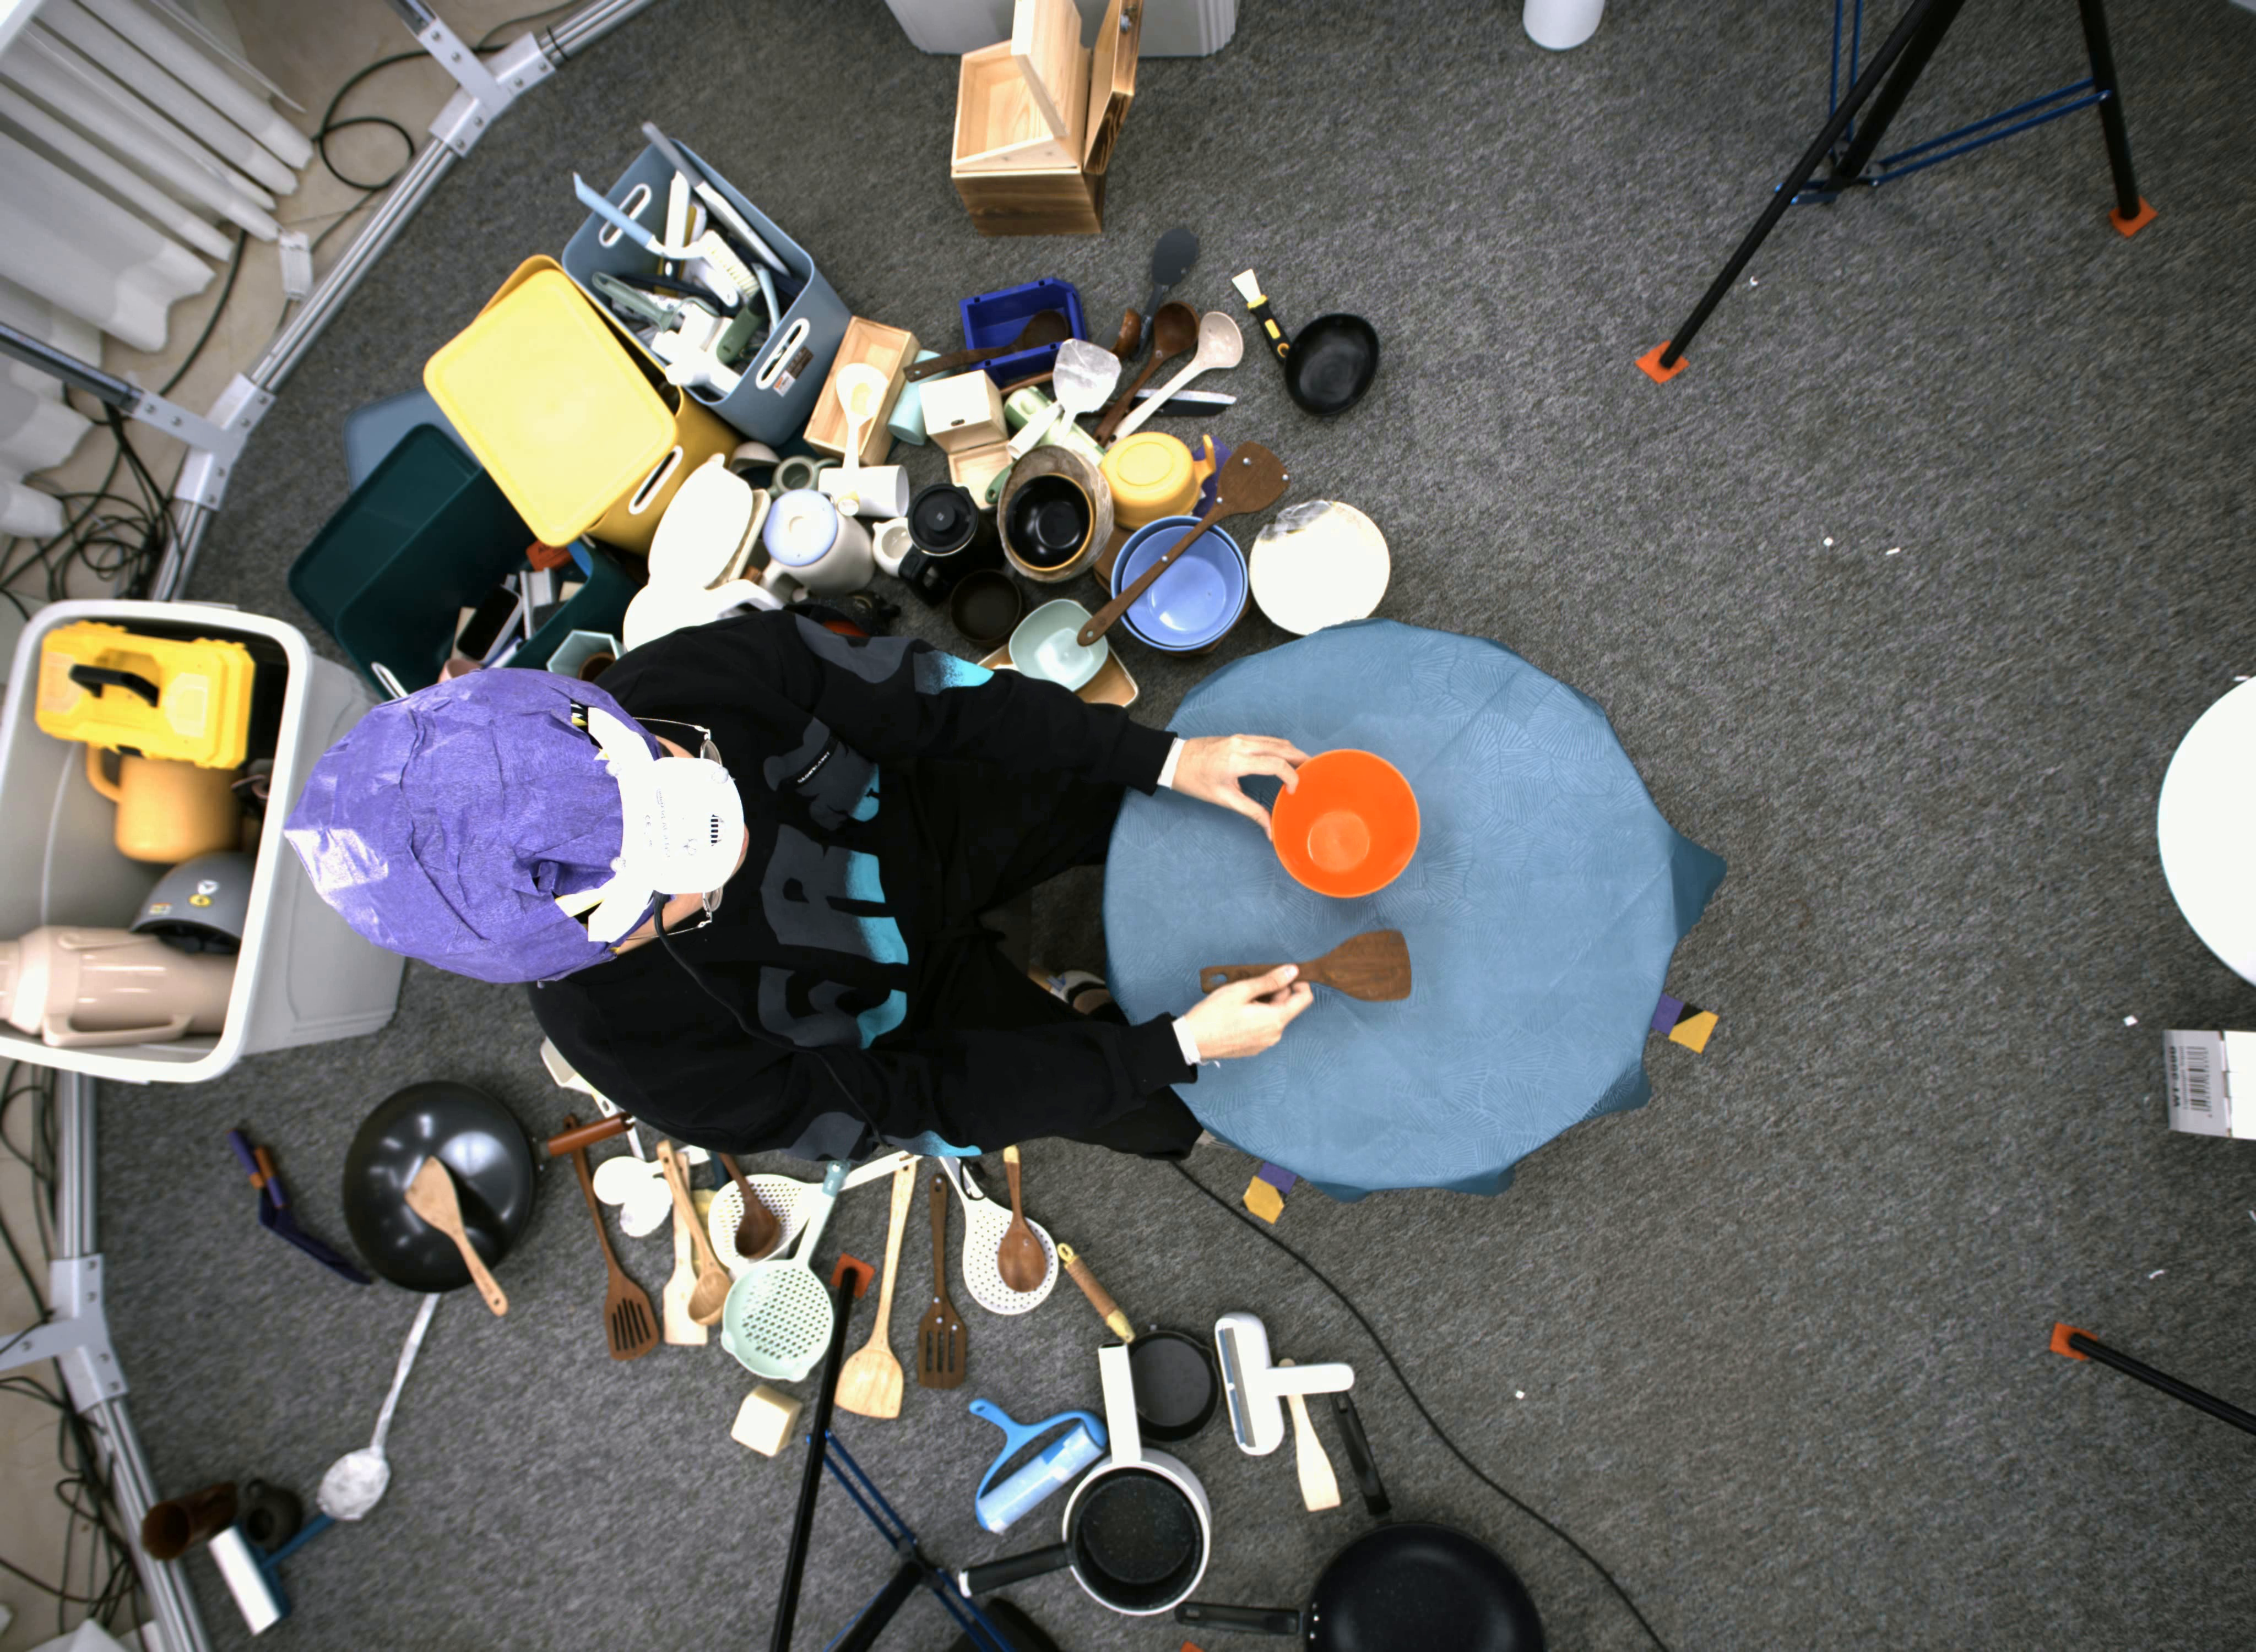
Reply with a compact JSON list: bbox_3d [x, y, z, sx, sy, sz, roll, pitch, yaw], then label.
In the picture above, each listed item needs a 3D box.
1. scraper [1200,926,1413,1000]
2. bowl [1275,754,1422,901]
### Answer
[{"bbox_3d":[0.177,0.144,1.387,0.212,0.011,0.074,-6,72,6],"label":"scraper"},{"bbox_3d":[0.227,0.006,1.426,0.148,0.105,0.147,-1,84,10],"label":"bowl"}]
